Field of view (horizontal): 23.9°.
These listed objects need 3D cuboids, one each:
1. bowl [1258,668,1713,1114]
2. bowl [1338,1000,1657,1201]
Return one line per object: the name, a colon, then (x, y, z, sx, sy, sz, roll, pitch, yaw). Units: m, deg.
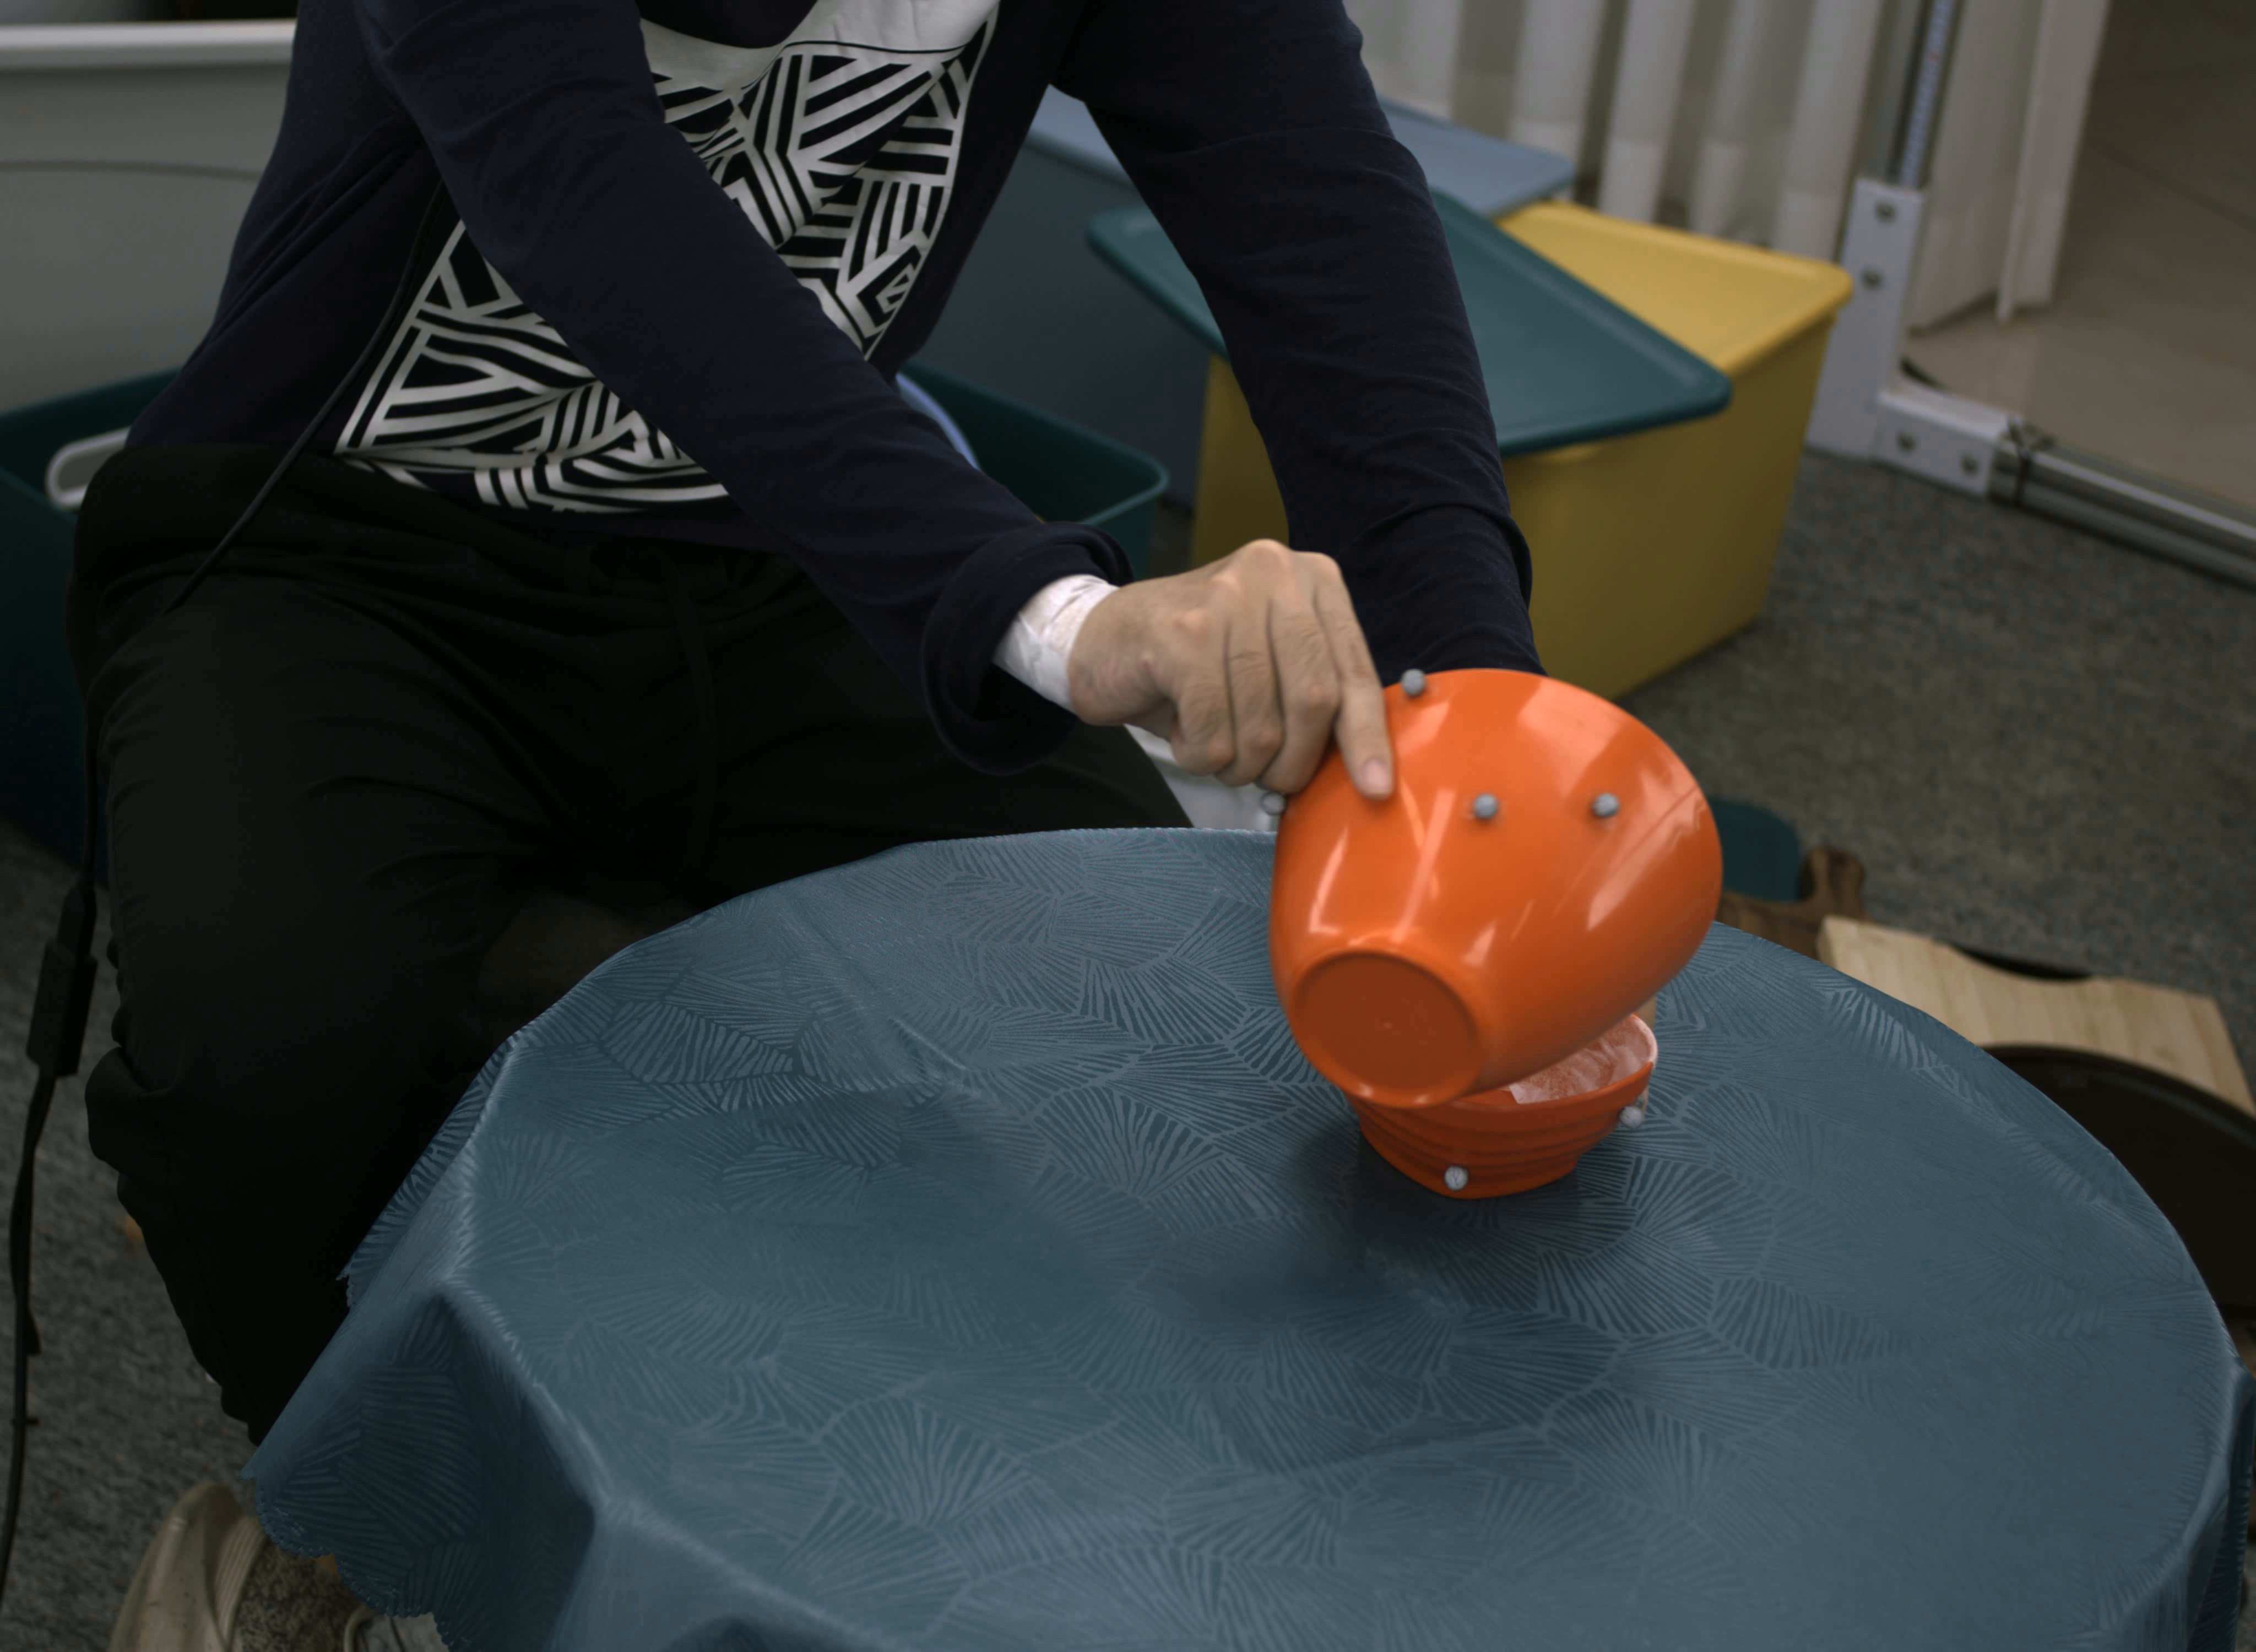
bowl: (0.106, 0.034, 1.729, 0.148, 0.147, 0.105, 14, 41, 13)
bowl: (0.121, 0.089, 1.847, 0.118, 0.051, 0.119, 4, 27, -2)
